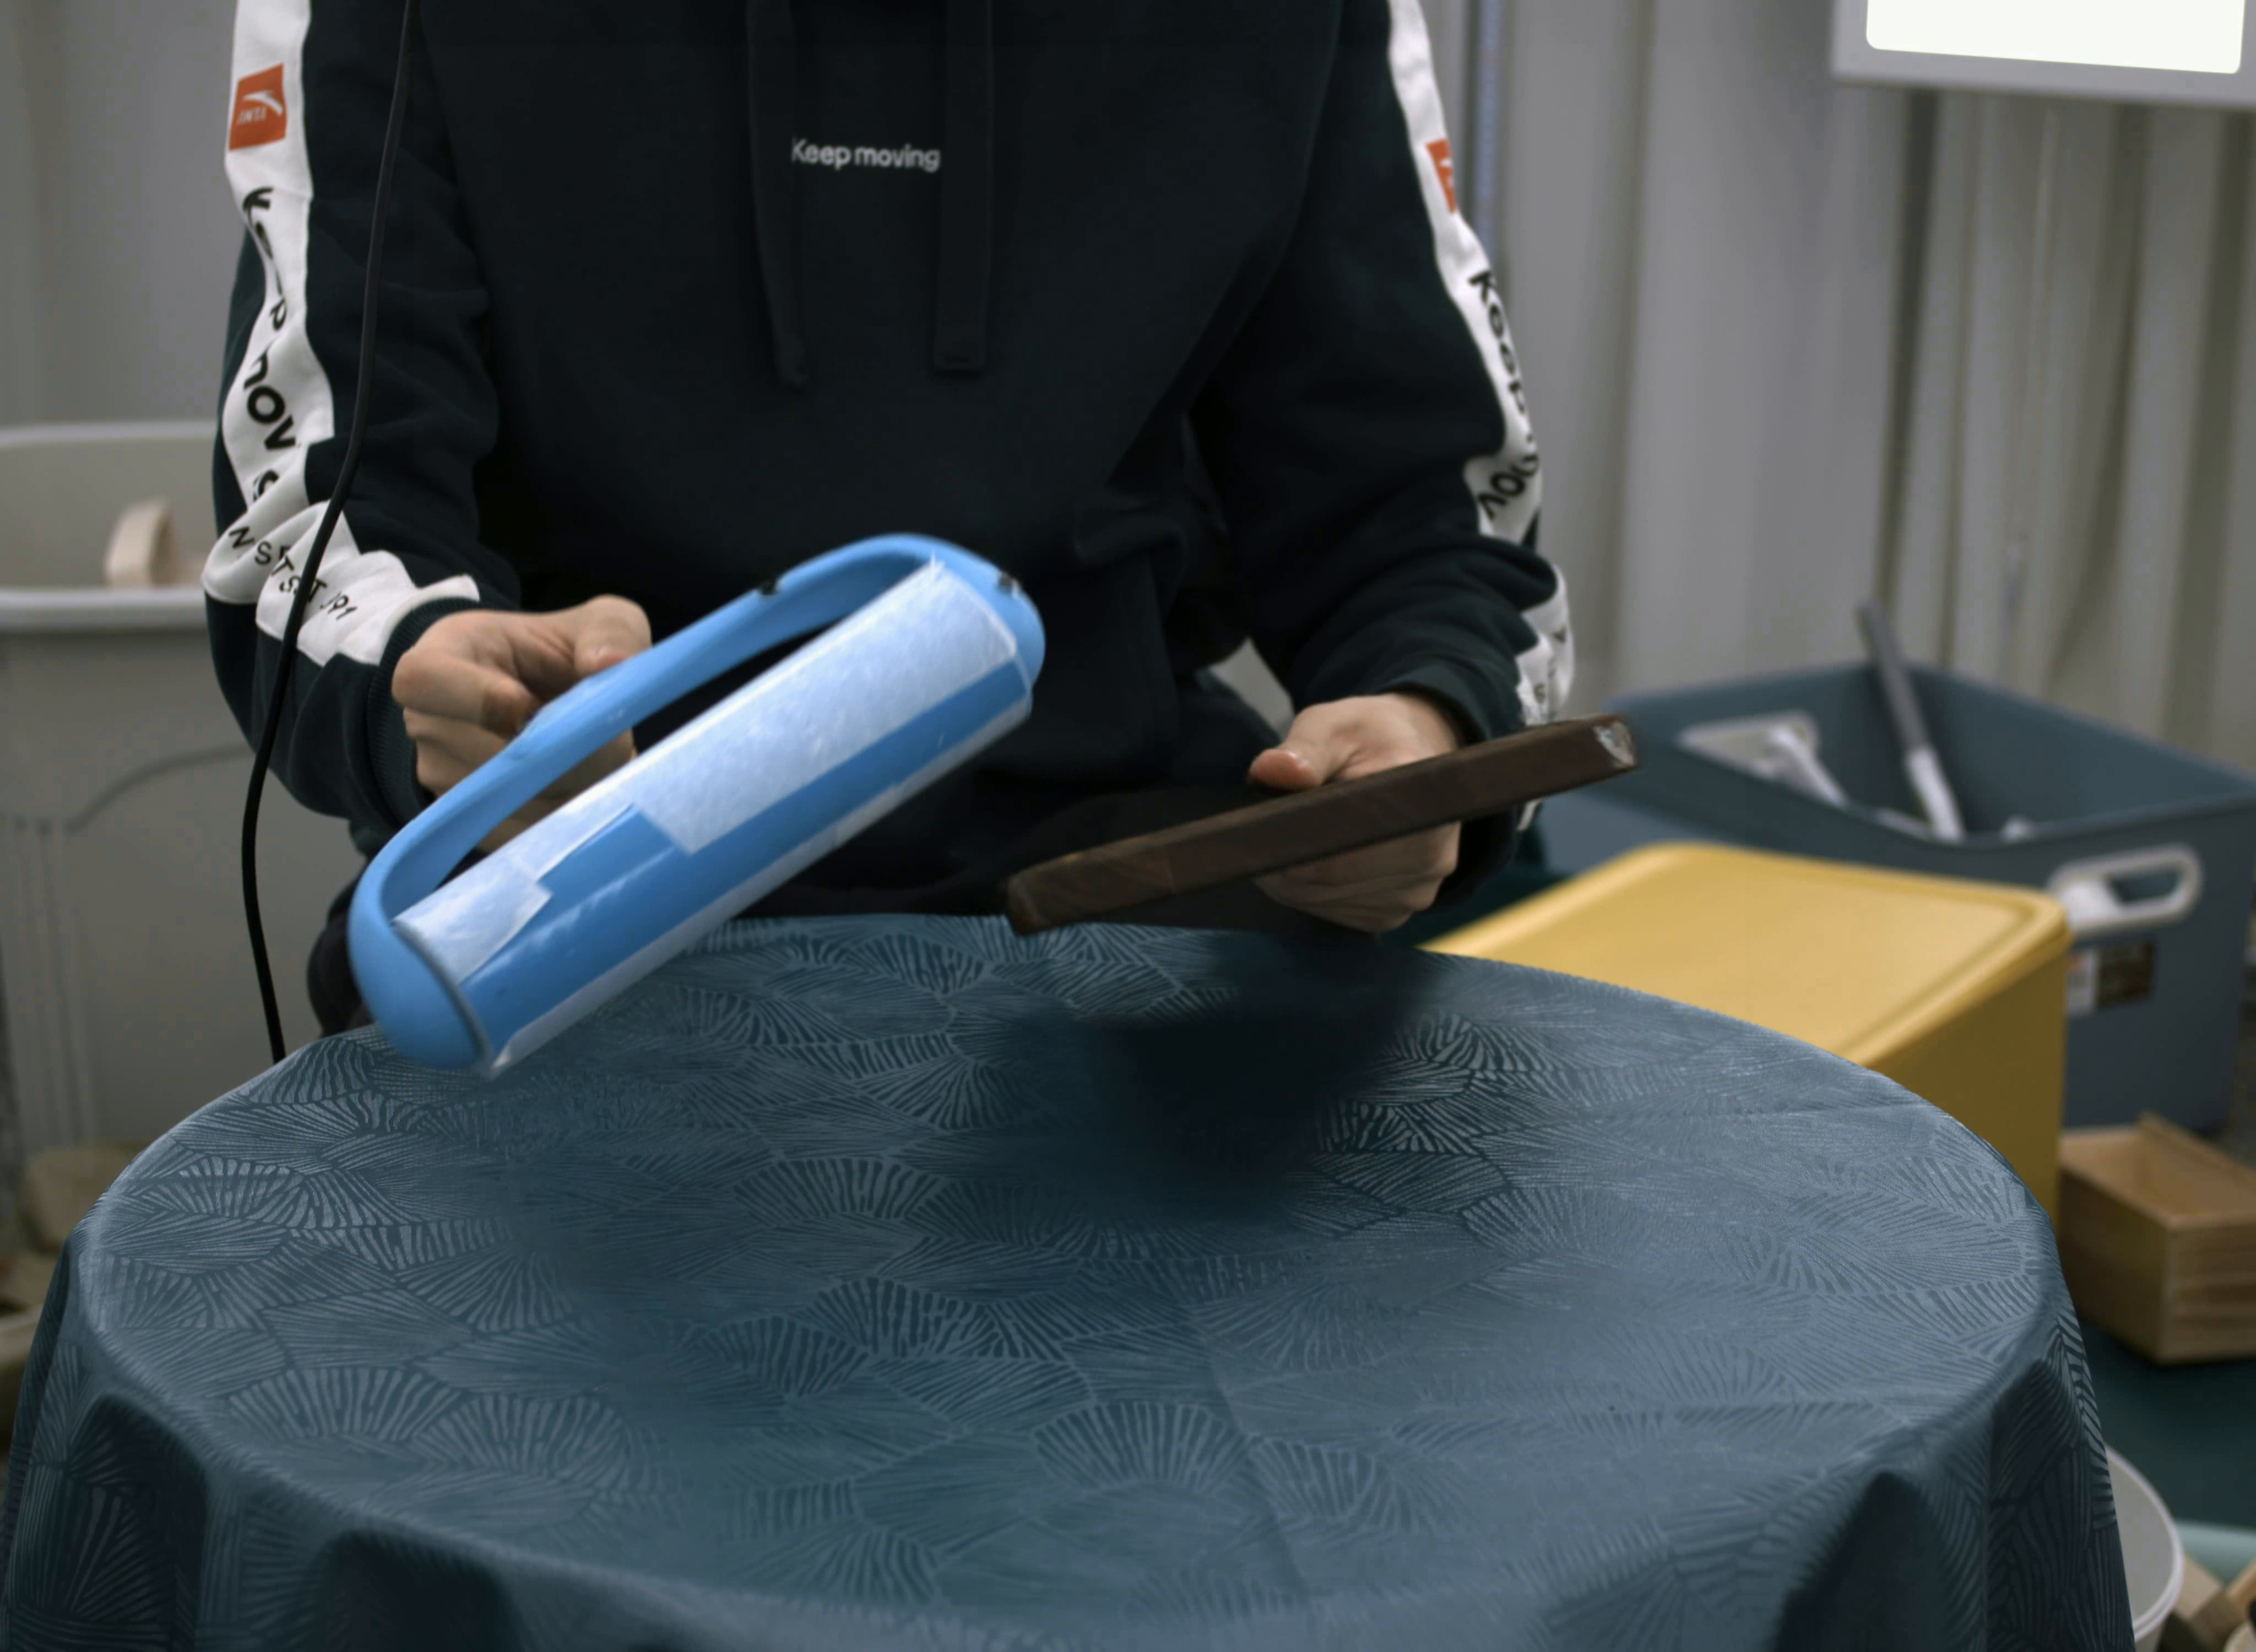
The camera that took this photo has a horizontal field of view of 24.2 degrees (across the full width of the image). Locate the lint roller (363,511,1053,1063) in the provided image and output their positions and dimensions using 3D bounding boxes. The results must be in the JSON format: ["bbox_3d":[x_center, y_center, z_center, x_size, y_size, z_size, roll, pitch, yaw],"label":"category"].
[{"bbox_3d":[-0.145,-0.018,1.551,0.229,0.069,0.178,-38,26,-20],"label":"lint roller"}]

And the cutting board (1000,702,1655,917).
[{"bbox_3d":[0.059,-0.004,1.720,0.200,0.023,0.352,-14,0,0],"label":"cutting board"}]
